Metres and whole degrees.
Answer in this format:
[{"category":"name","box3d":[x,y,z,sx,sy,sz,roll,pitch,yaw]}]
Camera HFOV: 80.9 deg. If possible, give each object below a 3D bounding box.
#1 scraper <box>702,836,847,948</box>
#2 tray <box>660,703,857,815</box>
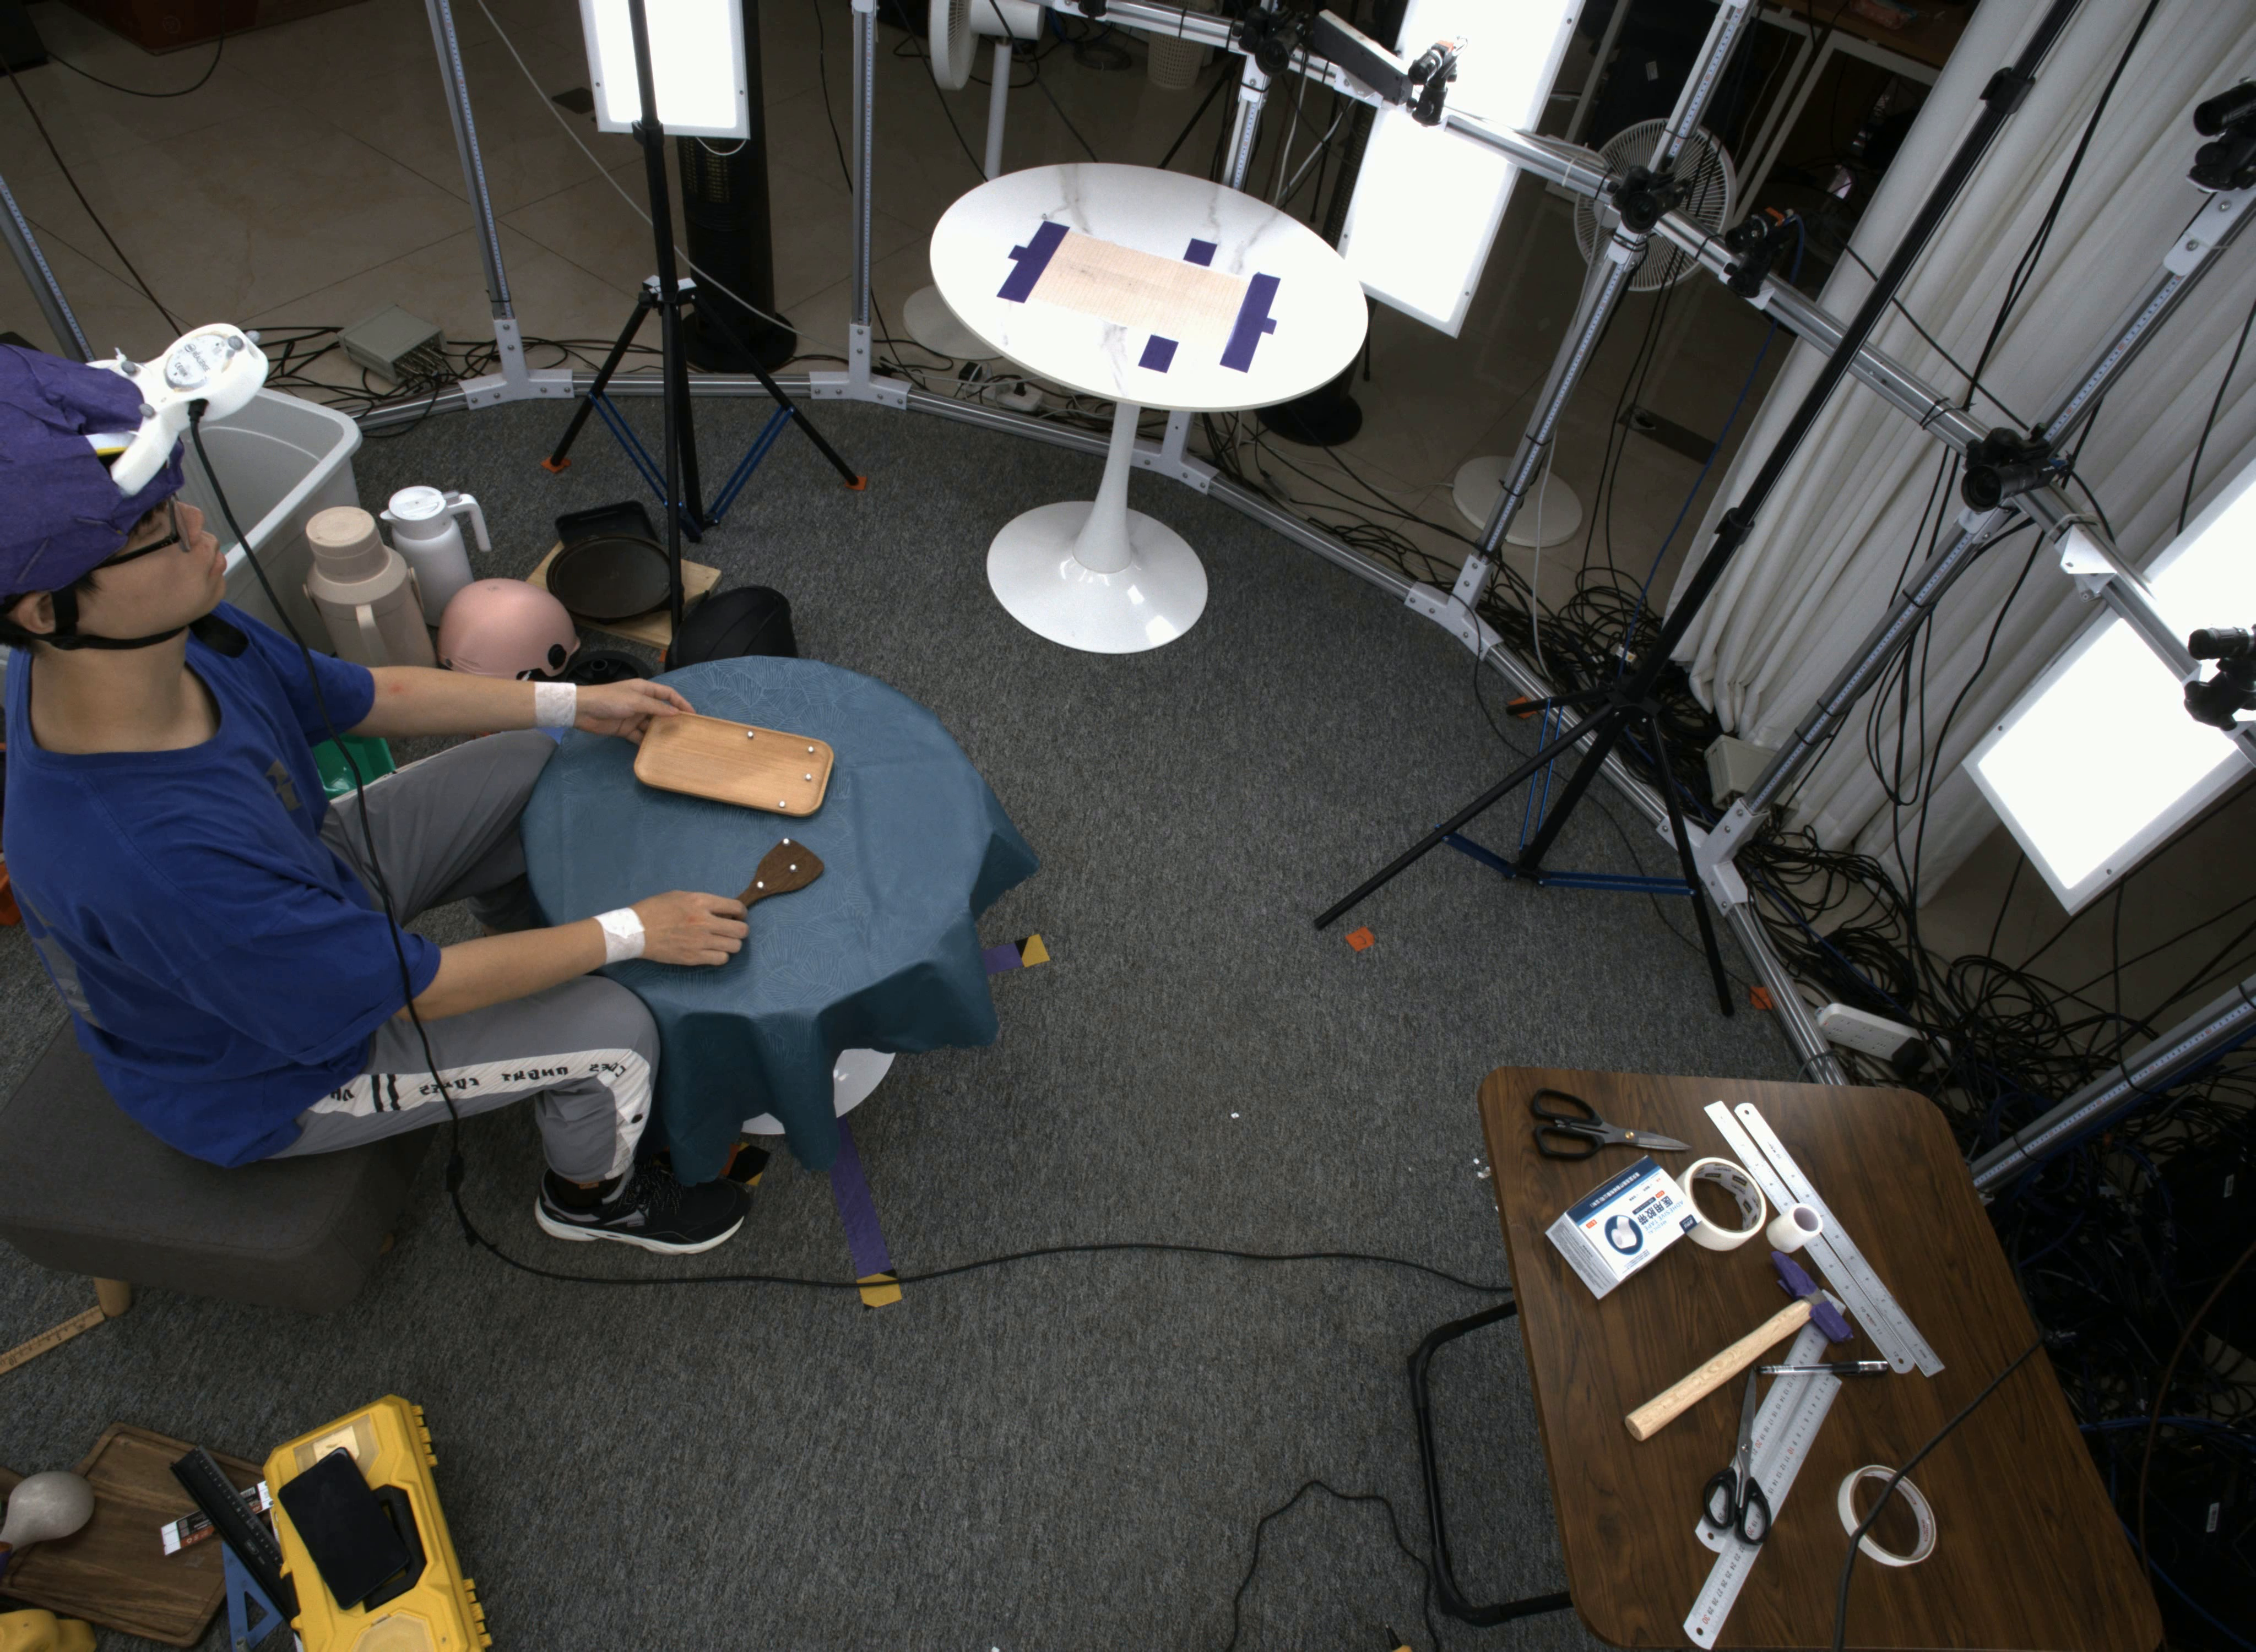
[{"category":"scraper","box3d":[-0.456,0.086,1.653,0.074,0.011,0.211,38,52,15]},{"category":"tray","box3d":[-0.501,-0.091,1.757,0.250,0.023,0.128,14,53,-8]}]
